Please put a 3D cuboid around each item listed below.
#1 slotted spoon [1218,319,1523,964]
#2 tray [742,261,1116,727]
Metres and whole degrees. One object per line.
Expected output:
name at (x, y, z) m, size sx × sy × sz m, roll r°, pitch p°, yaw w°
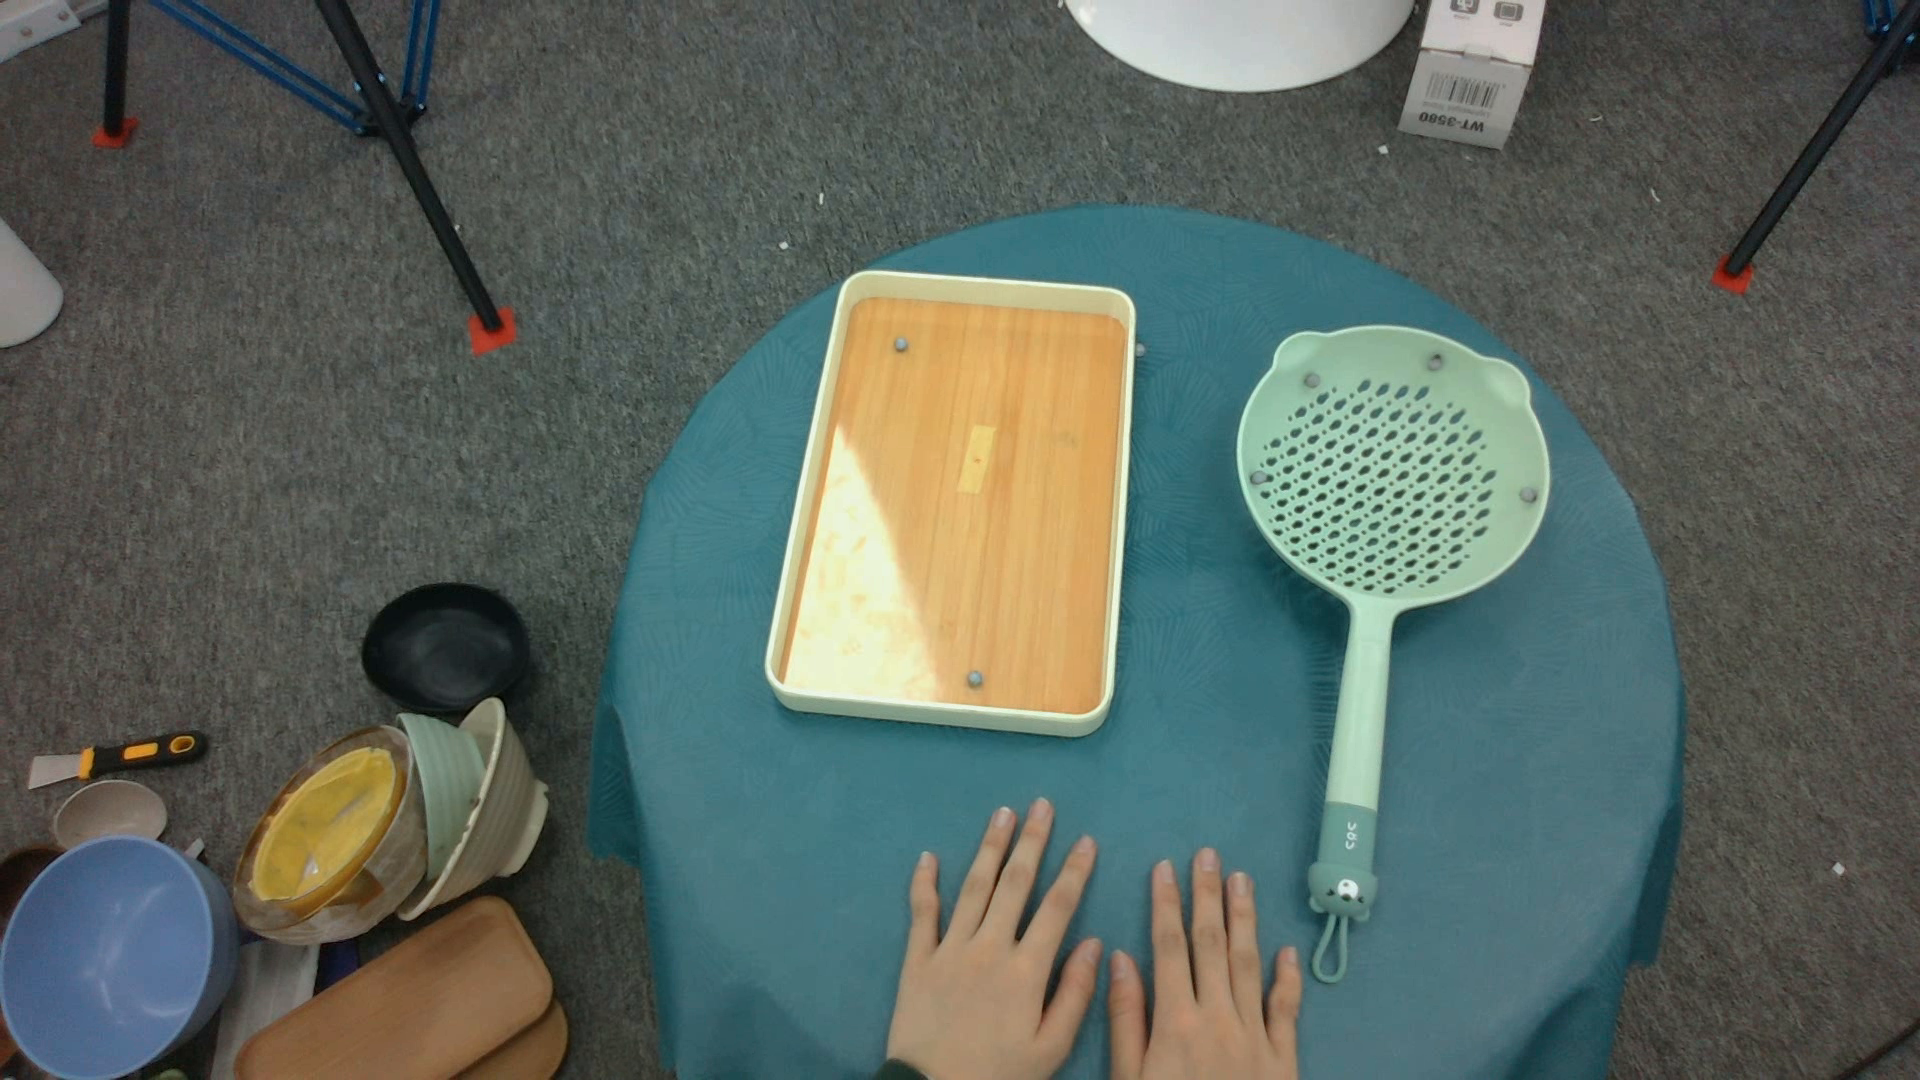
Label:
slotted spoon at (0.209, 0.042, 0.745) m, size 0.169 × 0.075 × 0.360 m, roll 10°, pitch 60°, yaw 7°
tray at (-0.010, -0.038, 0.815) m, size 0.191 × 0.027 × 0.301 m, roll 5°, pitch 59°, yaw 3°
